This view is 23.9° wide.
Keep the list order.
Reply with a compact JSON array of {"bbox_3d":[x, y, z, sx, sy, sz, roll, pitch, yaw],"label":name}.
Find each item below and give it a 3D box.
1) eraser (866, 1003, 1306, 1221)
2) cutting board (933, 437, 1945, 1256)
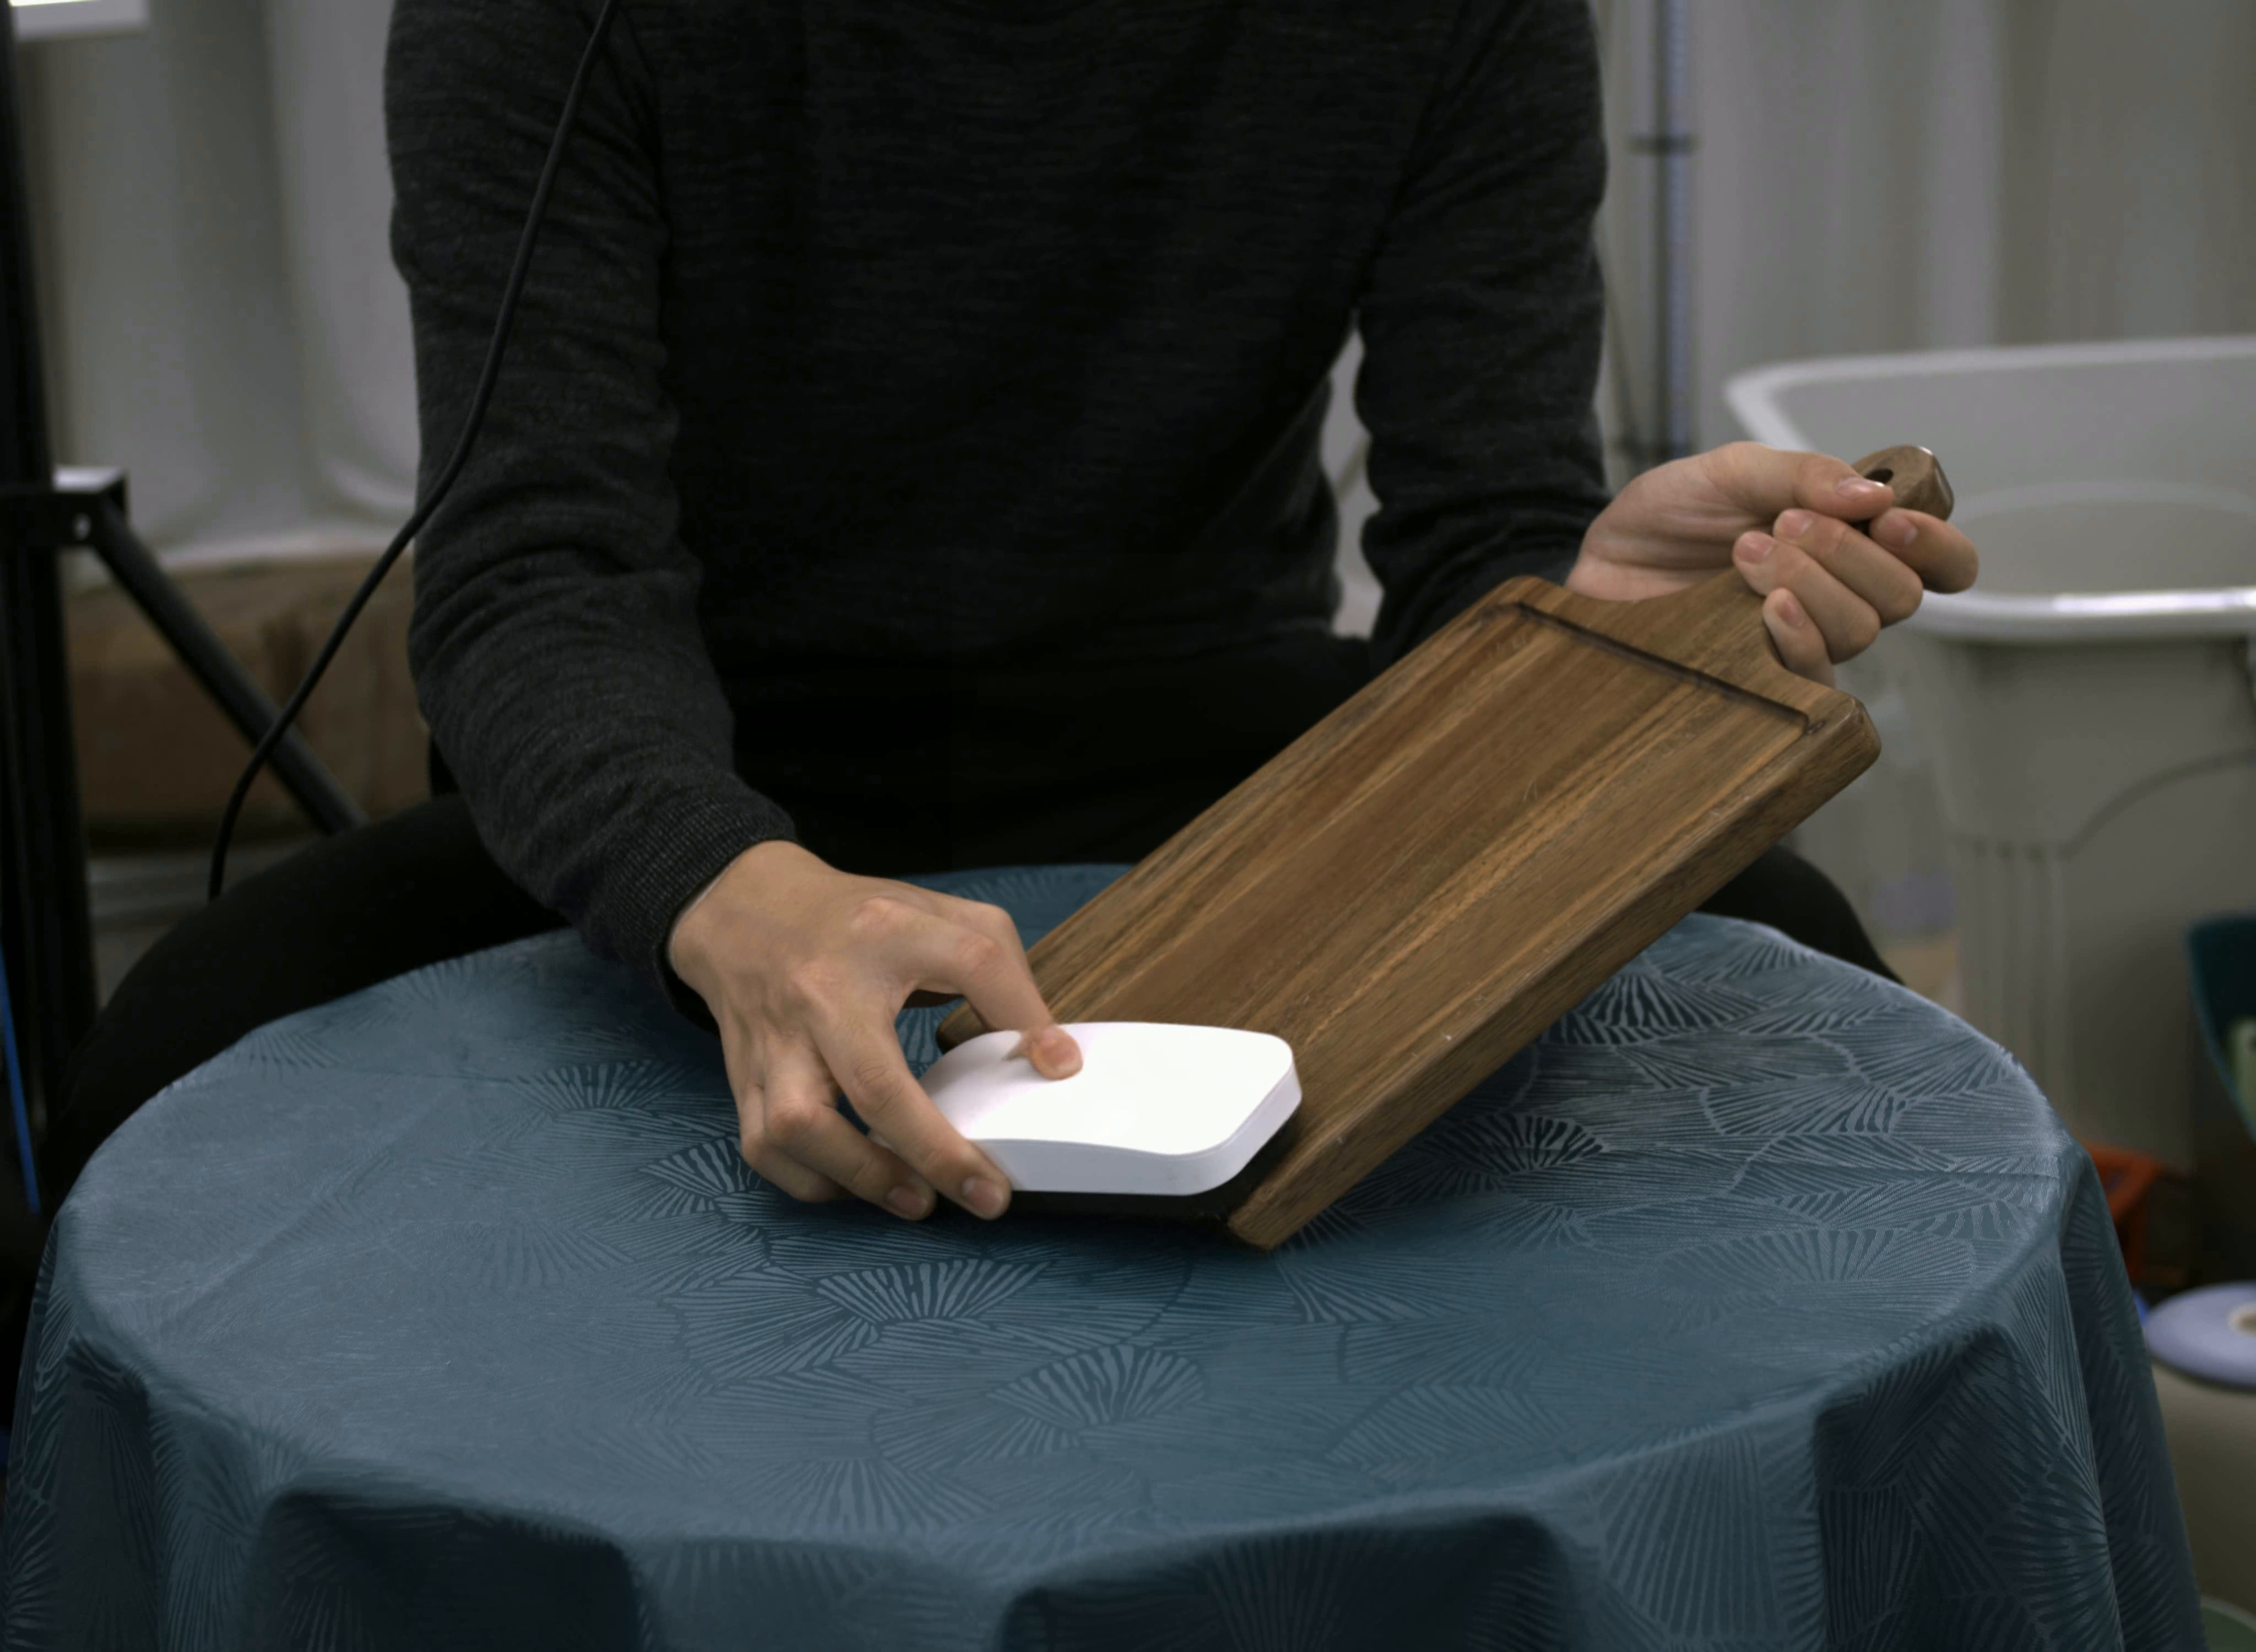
[{"bbox_3d":[-0.011,0.083,1.536,0.134,0.034,0.062,1,32,39],"label":"eraser"},{"bbox_3d":[0.118,-0.009,1.618,0.349,0.023,0.205,-38,29,-15],"label":"cutting board"}]
